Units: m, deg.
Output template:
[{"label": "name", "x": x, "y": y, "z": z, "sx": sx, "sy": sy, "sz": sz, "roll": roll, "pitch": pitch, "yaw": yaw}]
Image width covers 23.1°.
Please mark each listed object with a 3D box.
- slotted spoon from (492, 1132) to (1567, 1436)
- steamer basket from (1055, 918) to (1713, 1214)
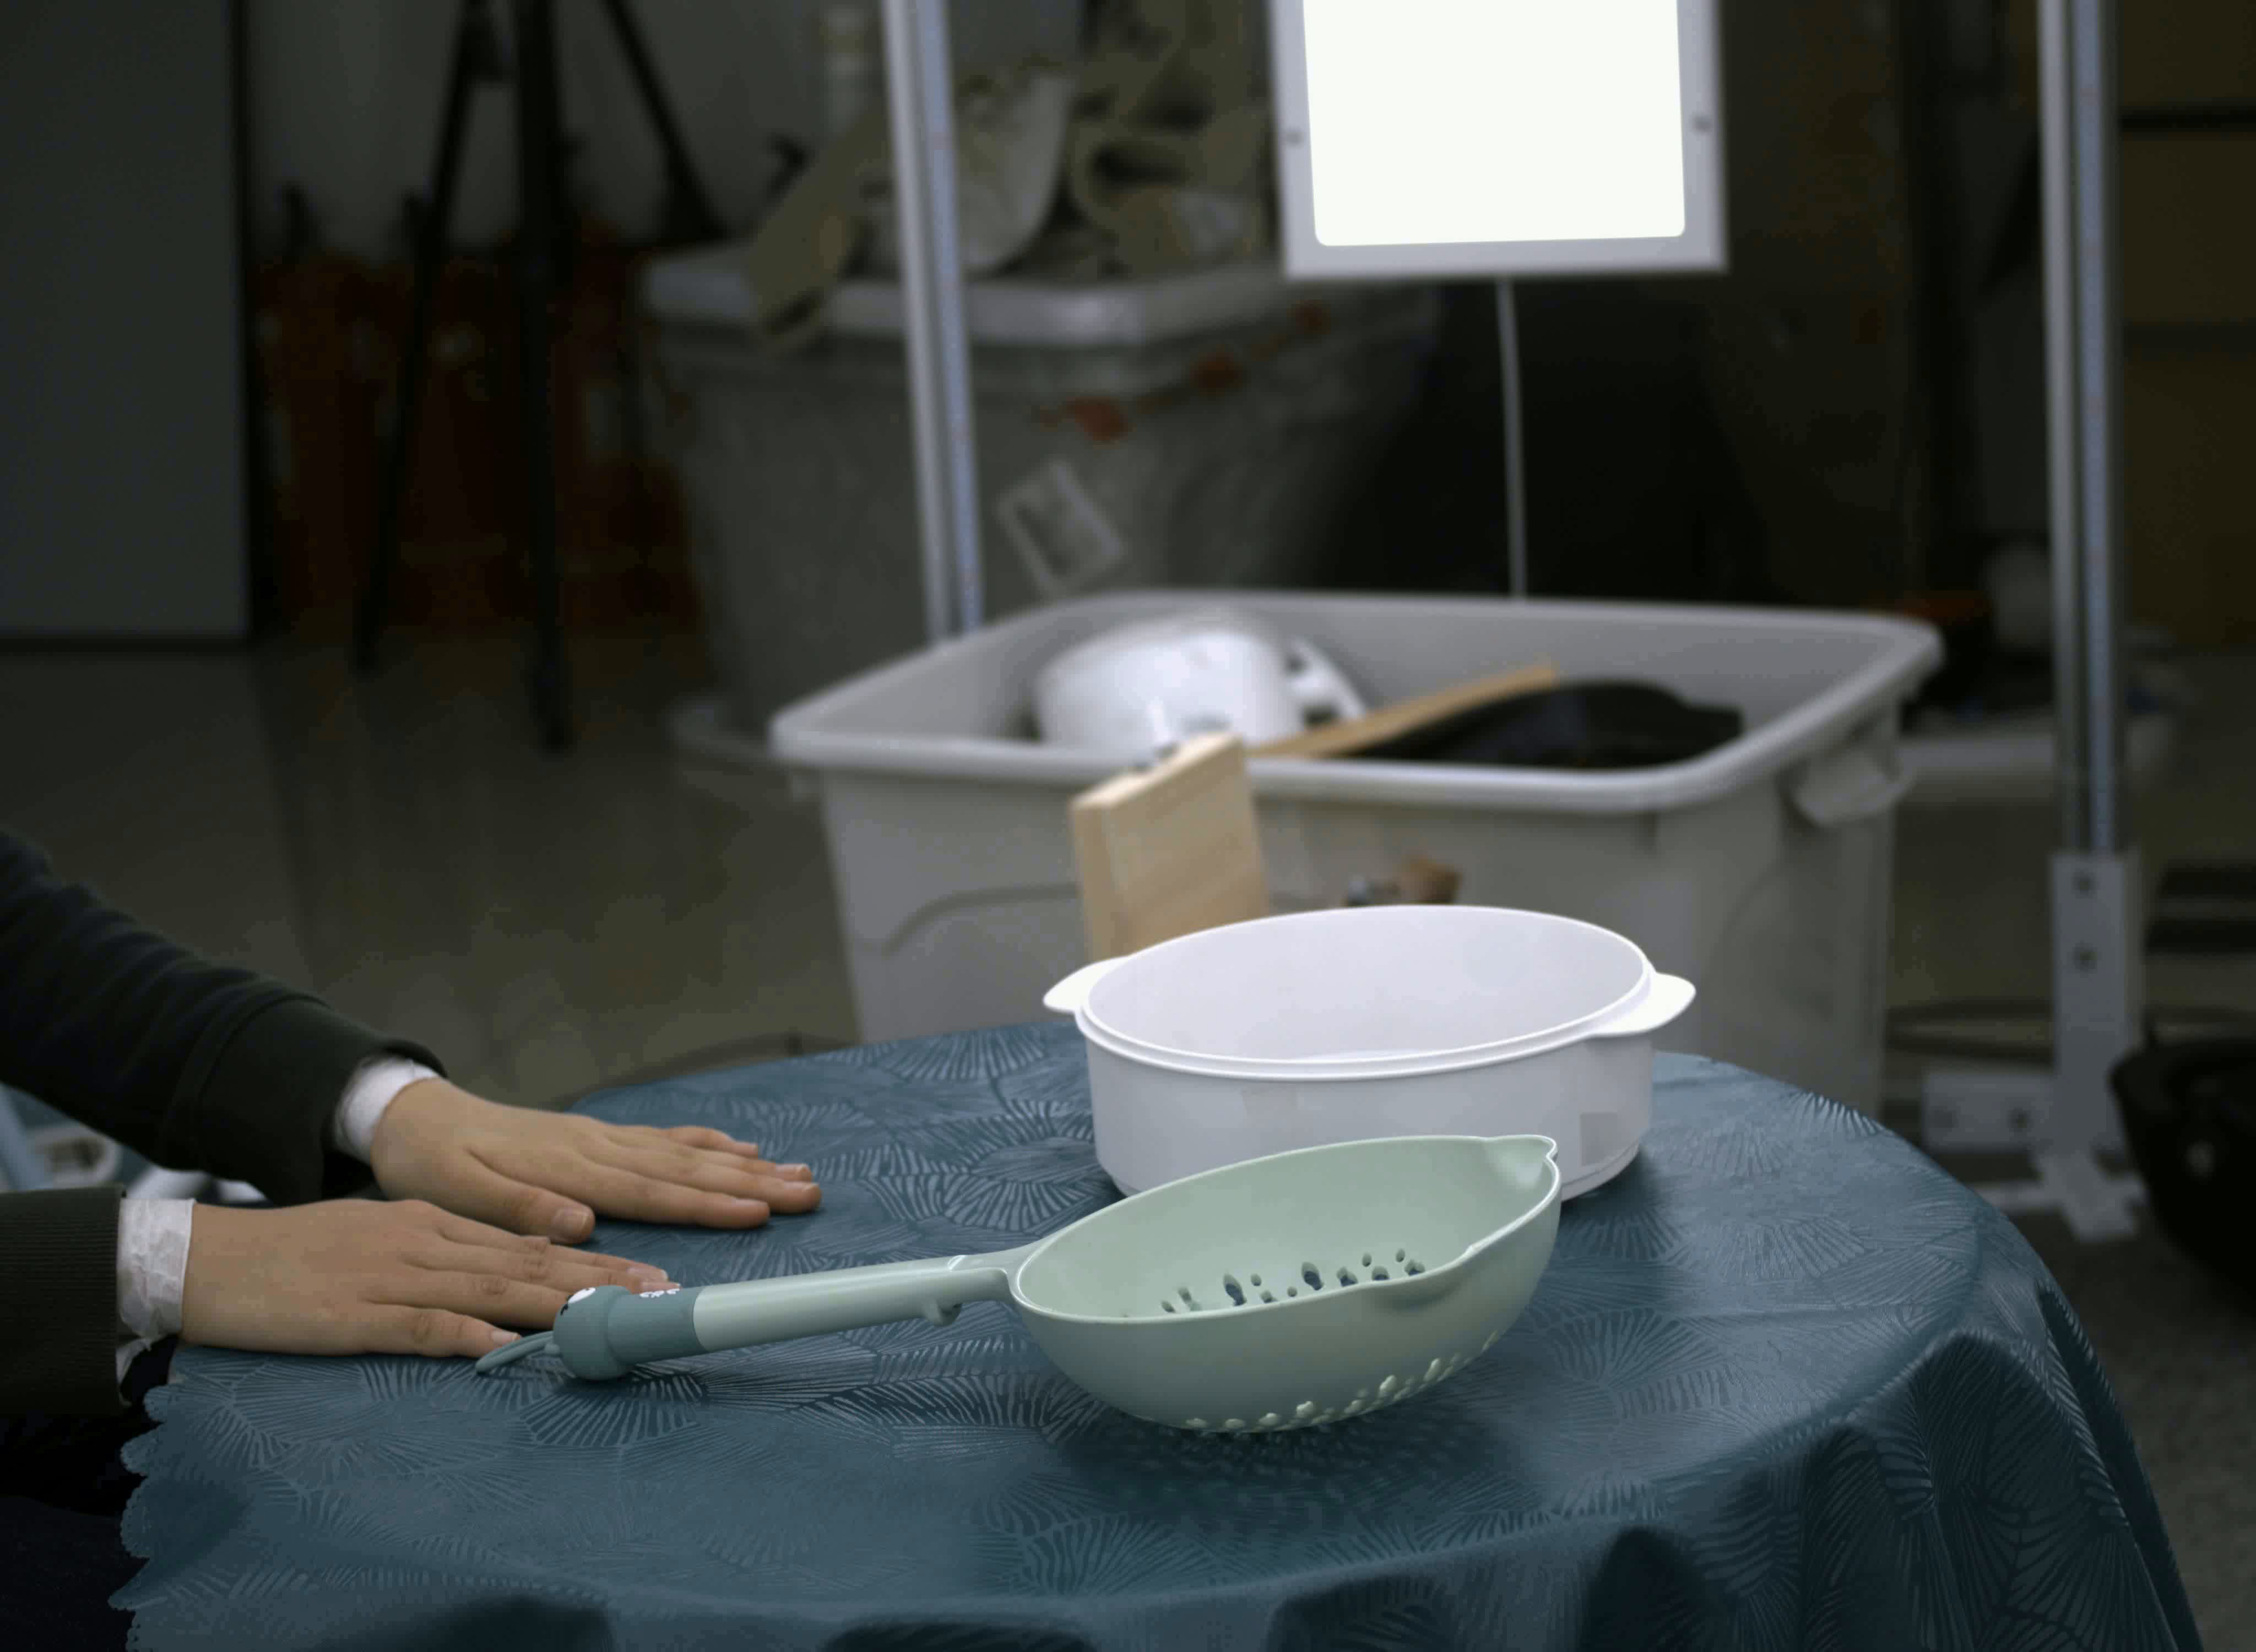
[{"label": "slotted spoon", "x": -0.038, "y": 0.144, "z": 1.702, "sx": 0.364, "sy": 0.075, "sz": 0.166, "roll": 0, "pitch": 14, "yaw": 22}, {"label": "steamer basket", "x": 0.089, "y": 0.087, "z": 1.894, "sx": 0.234, "sy": 0.069, "sz": 0.198, "roll": 1, "pitch": 14, "yaw": 23}]
